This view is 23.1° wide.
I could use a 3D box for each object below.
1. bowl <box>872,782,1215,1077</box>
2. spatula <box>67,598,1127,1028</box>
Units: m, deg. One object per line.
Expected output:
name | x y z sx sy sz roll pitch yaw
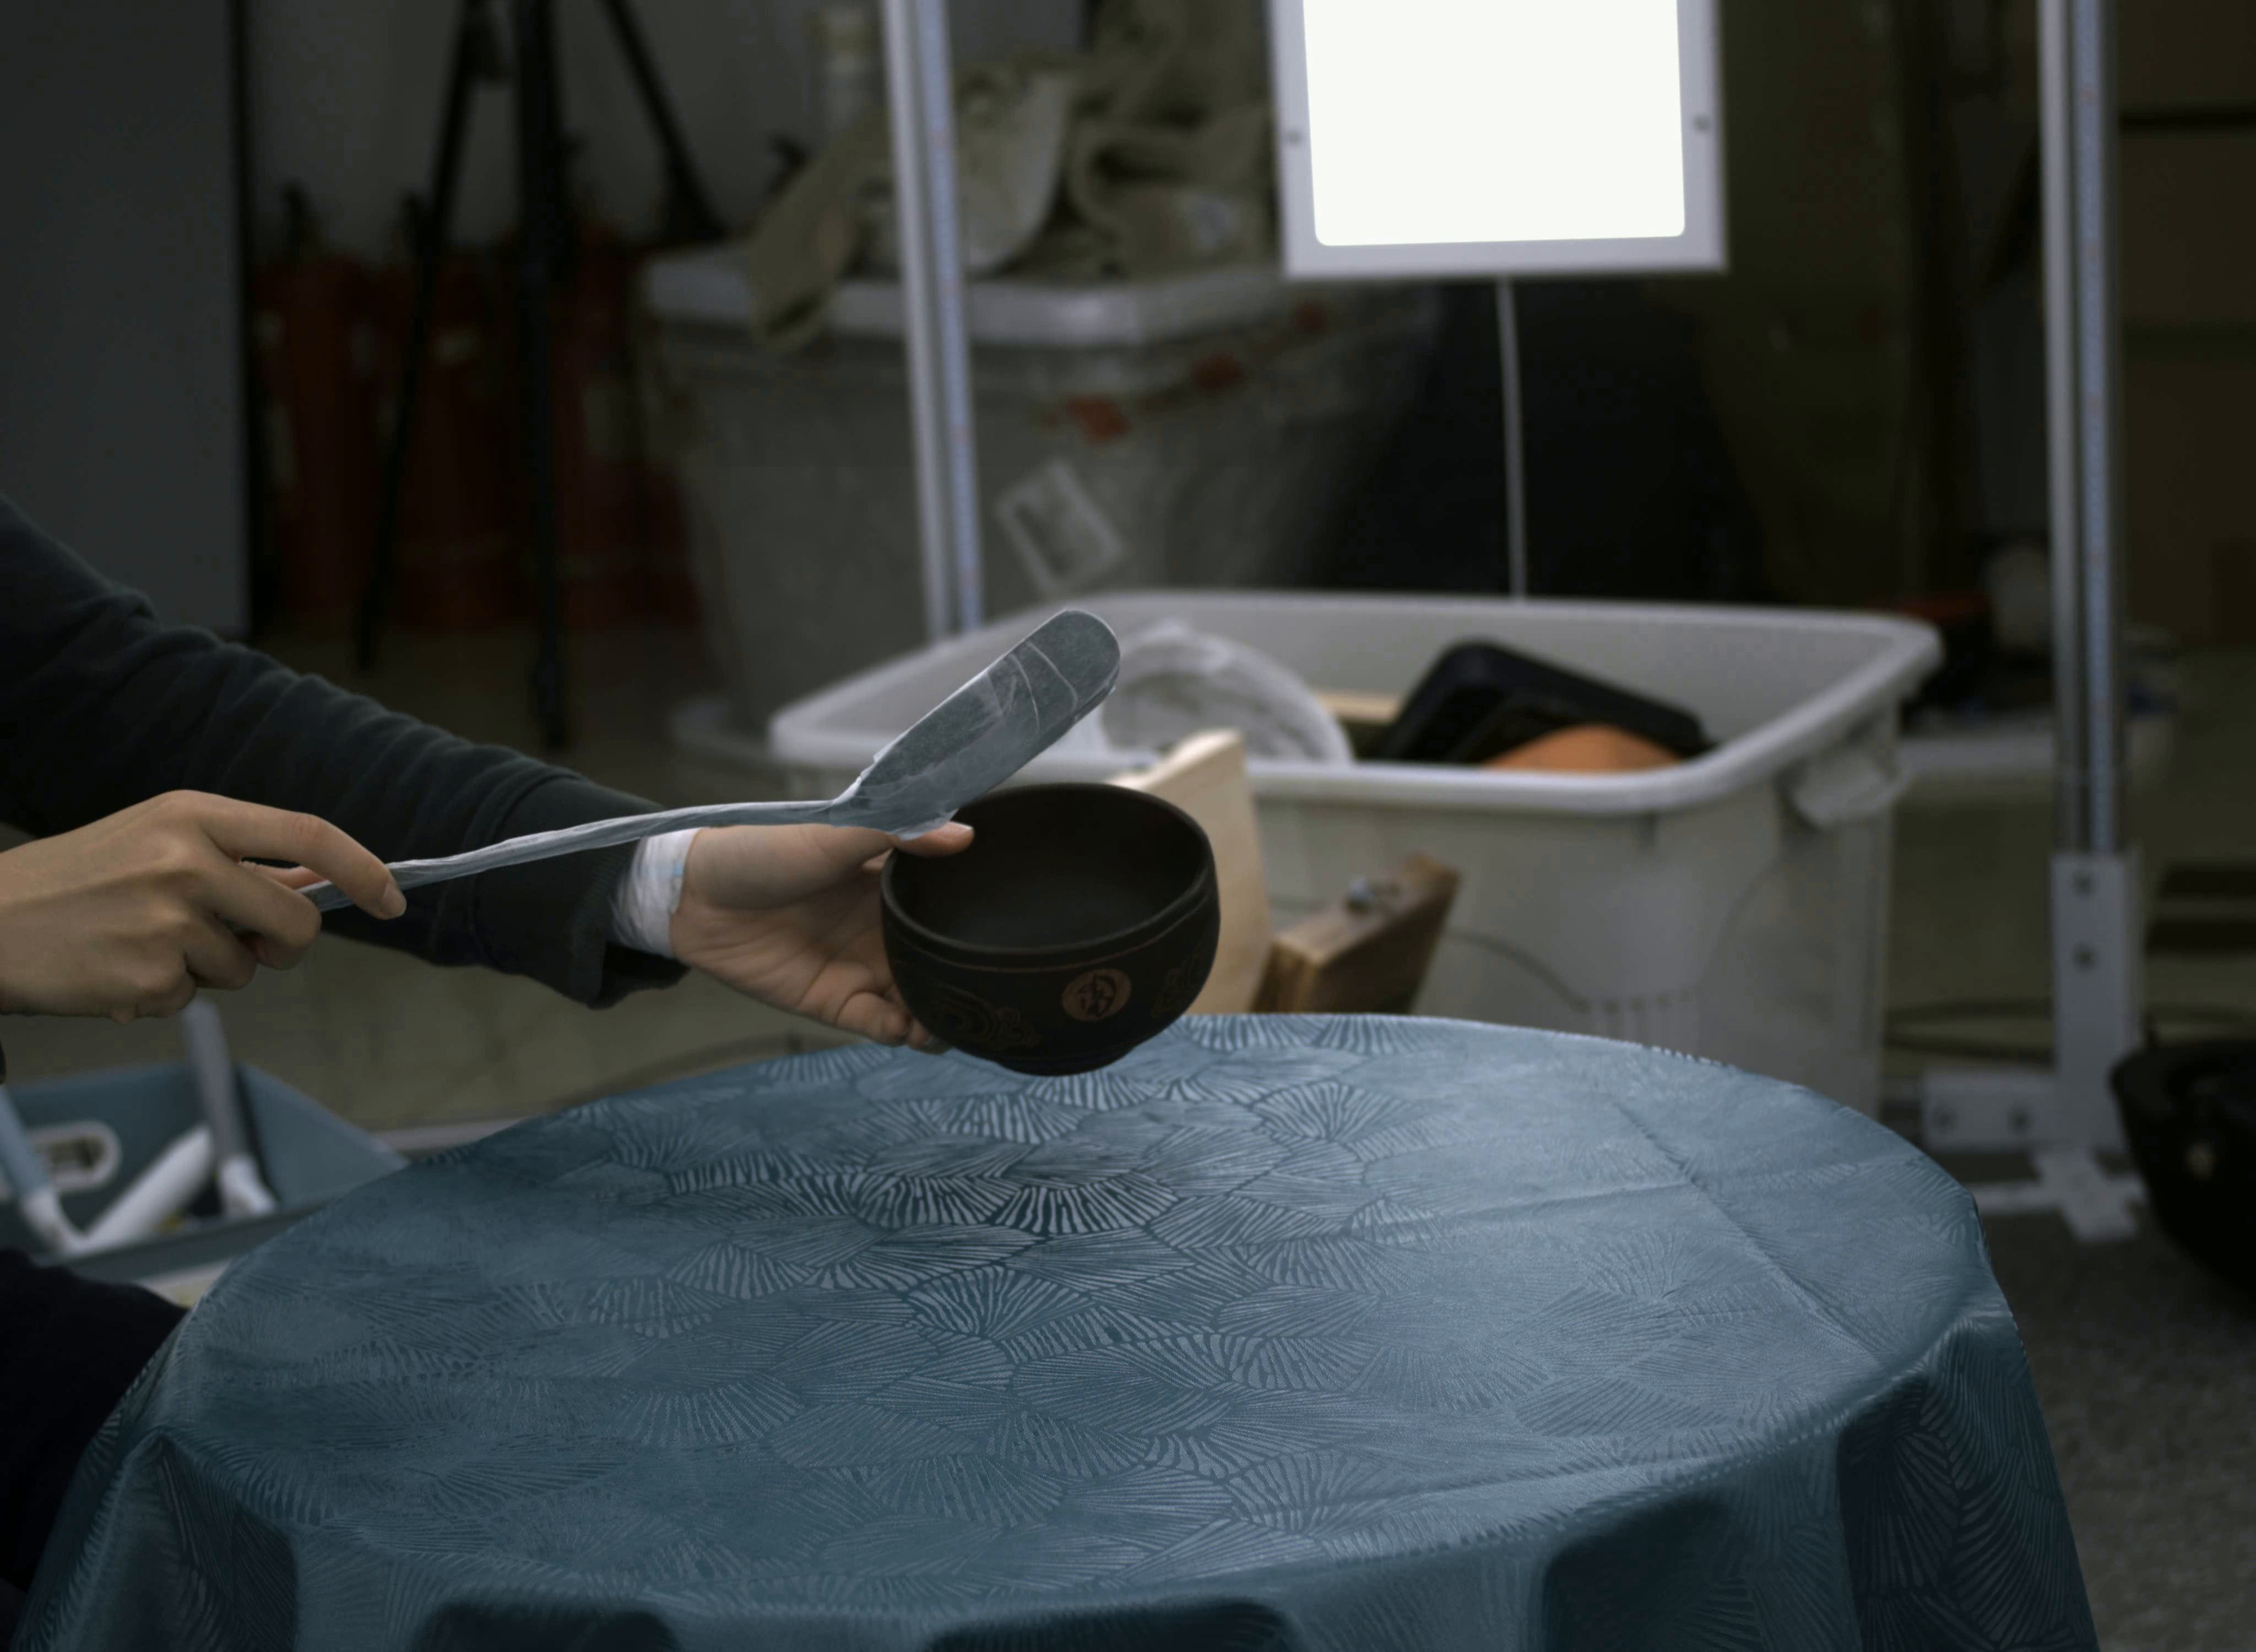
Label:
bowl | -0.027 0.042 1.887 0.118 0.070 0.118 -6 28 2
spatula | -0.173 0.000 1.782 0.365 0.045 0.098 -13 -18 3
